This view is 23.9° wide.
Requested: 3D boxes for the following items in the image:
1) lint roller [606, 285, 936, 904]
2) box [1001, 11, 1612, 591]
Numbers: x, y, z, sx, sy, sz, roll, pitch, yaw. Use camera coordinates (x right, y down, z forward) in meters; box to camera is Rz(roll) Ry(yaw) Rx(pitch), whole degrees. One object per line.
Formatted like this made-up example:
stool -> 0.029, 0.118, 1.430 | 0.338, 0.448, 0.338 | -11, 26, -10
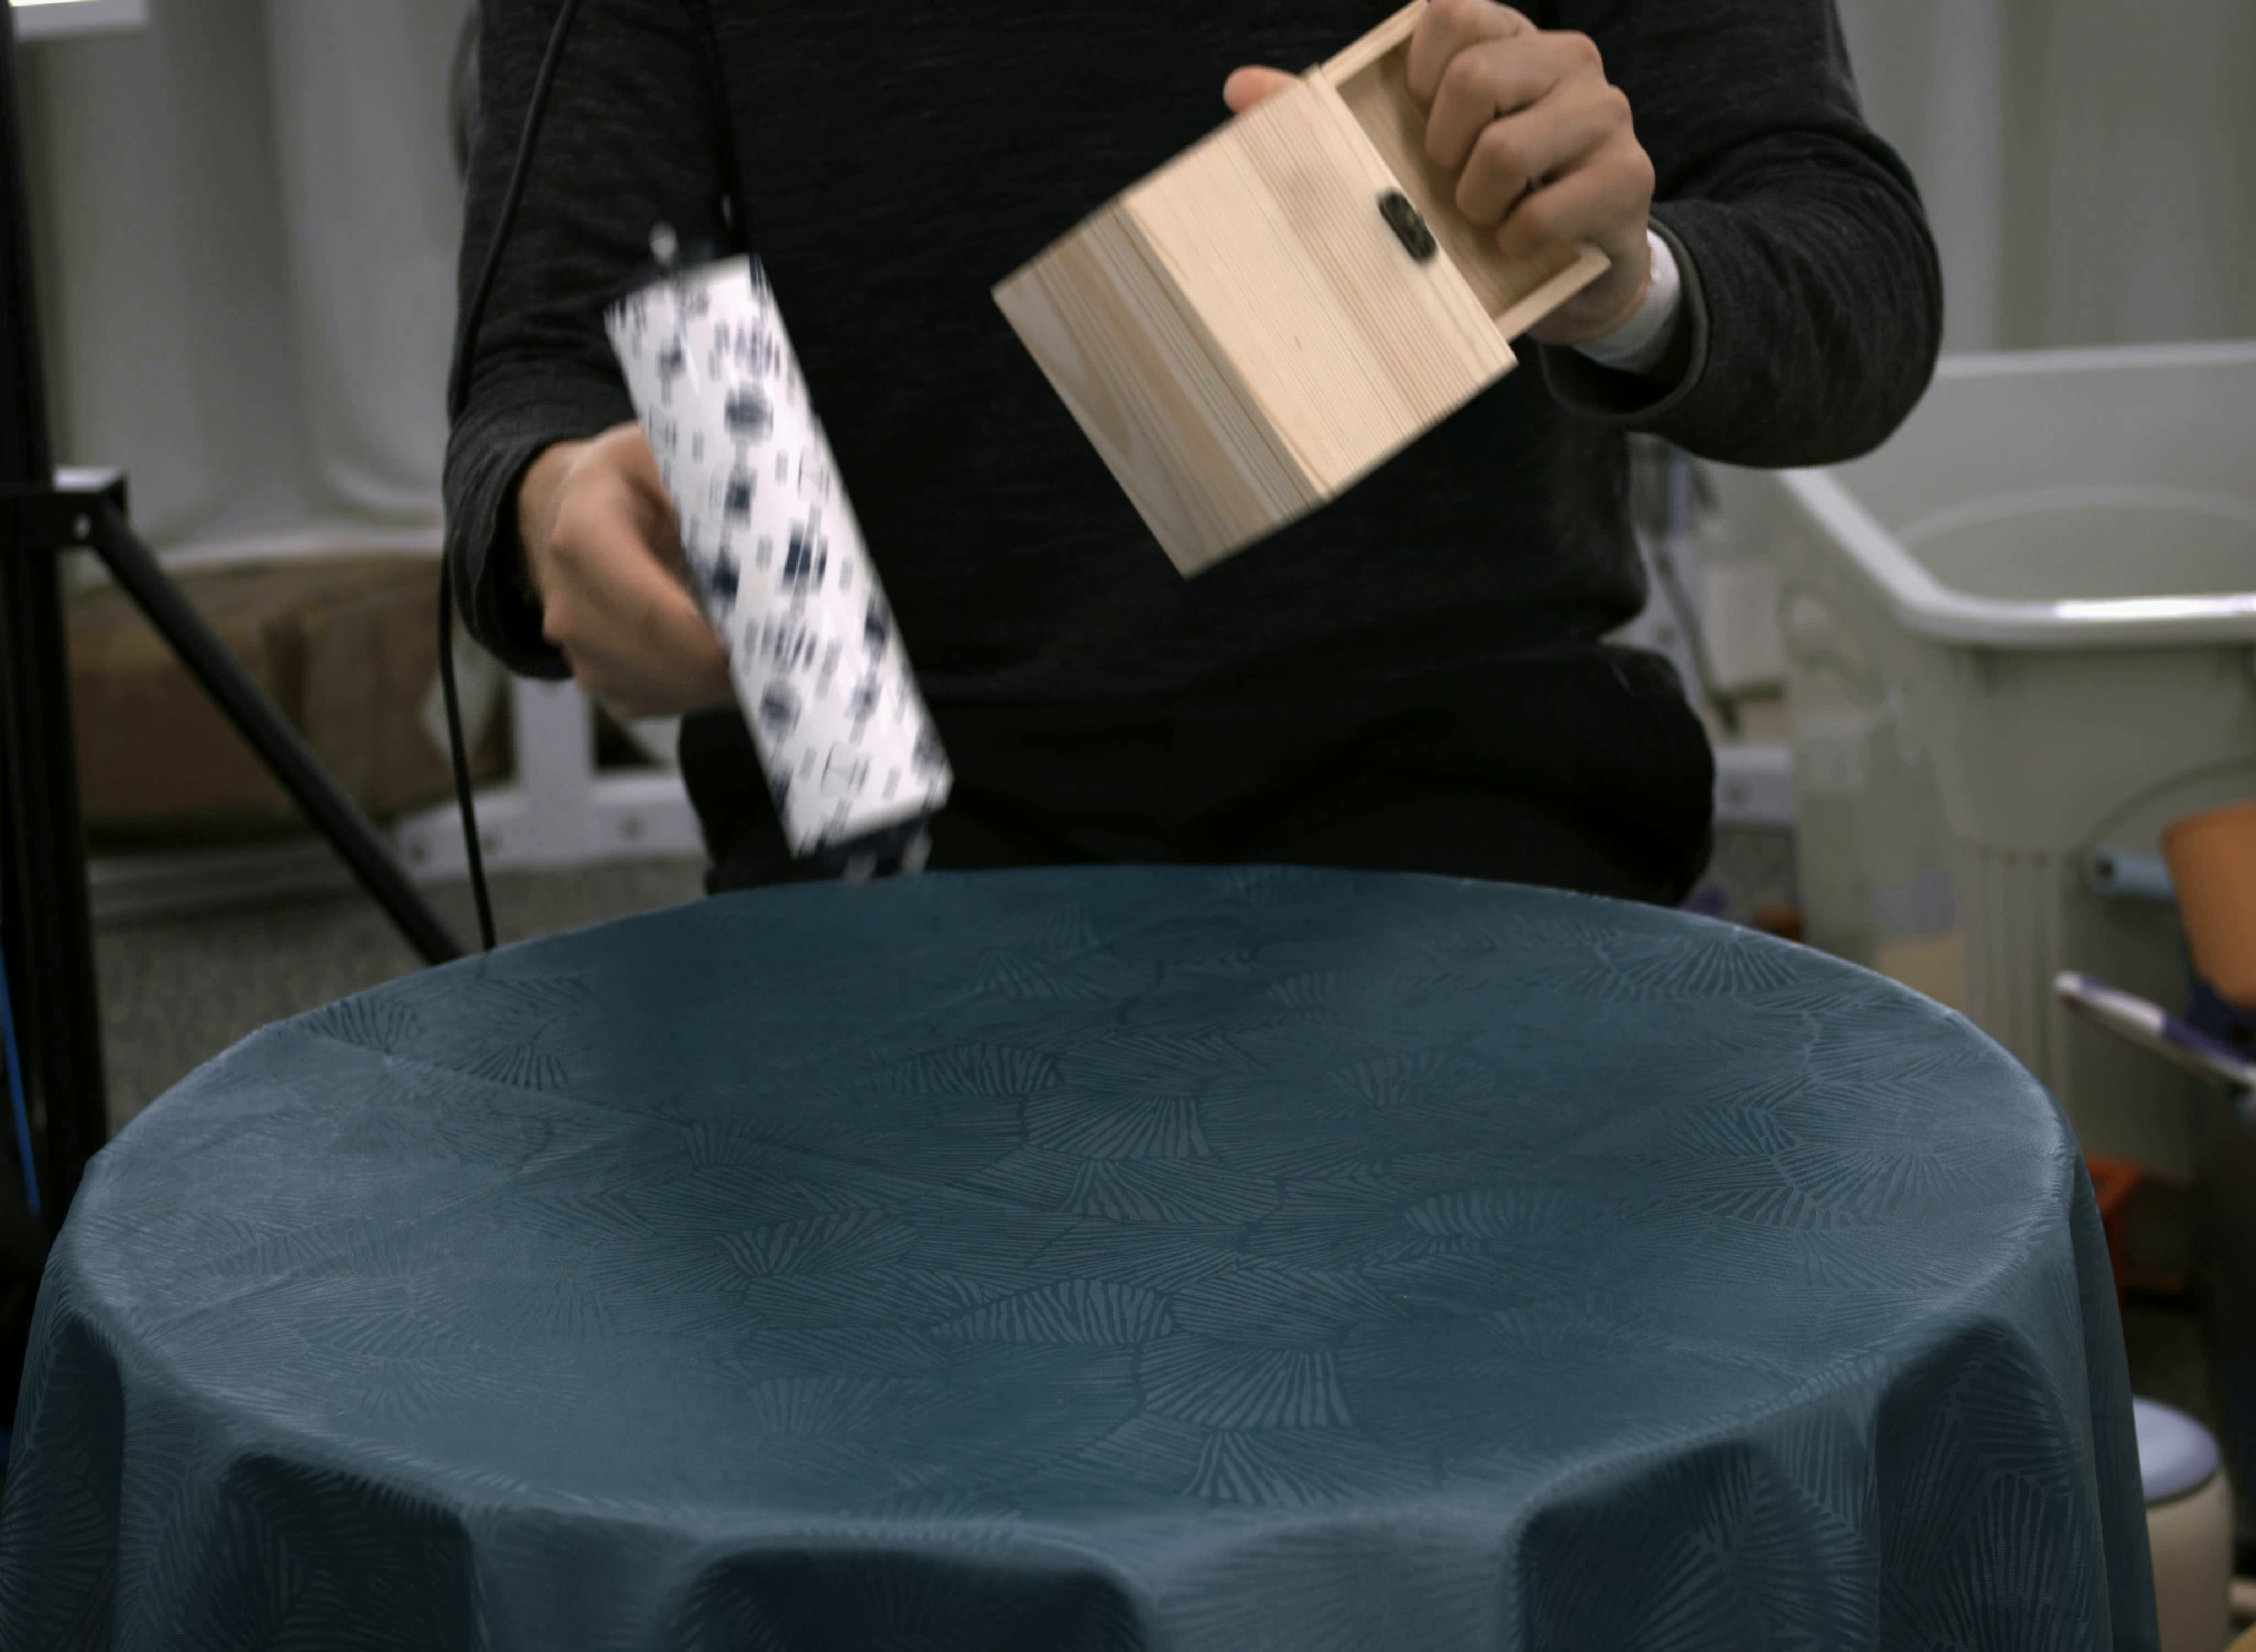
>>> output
lint roller -> -0.122, -0.059, 1.601 | 0.050, 0.177, 0.249 | -18, 1, -14
box -> 0.072, -0.165, 1.552 | 0.182, 0.102, 0.135 | -36, 5, -24
